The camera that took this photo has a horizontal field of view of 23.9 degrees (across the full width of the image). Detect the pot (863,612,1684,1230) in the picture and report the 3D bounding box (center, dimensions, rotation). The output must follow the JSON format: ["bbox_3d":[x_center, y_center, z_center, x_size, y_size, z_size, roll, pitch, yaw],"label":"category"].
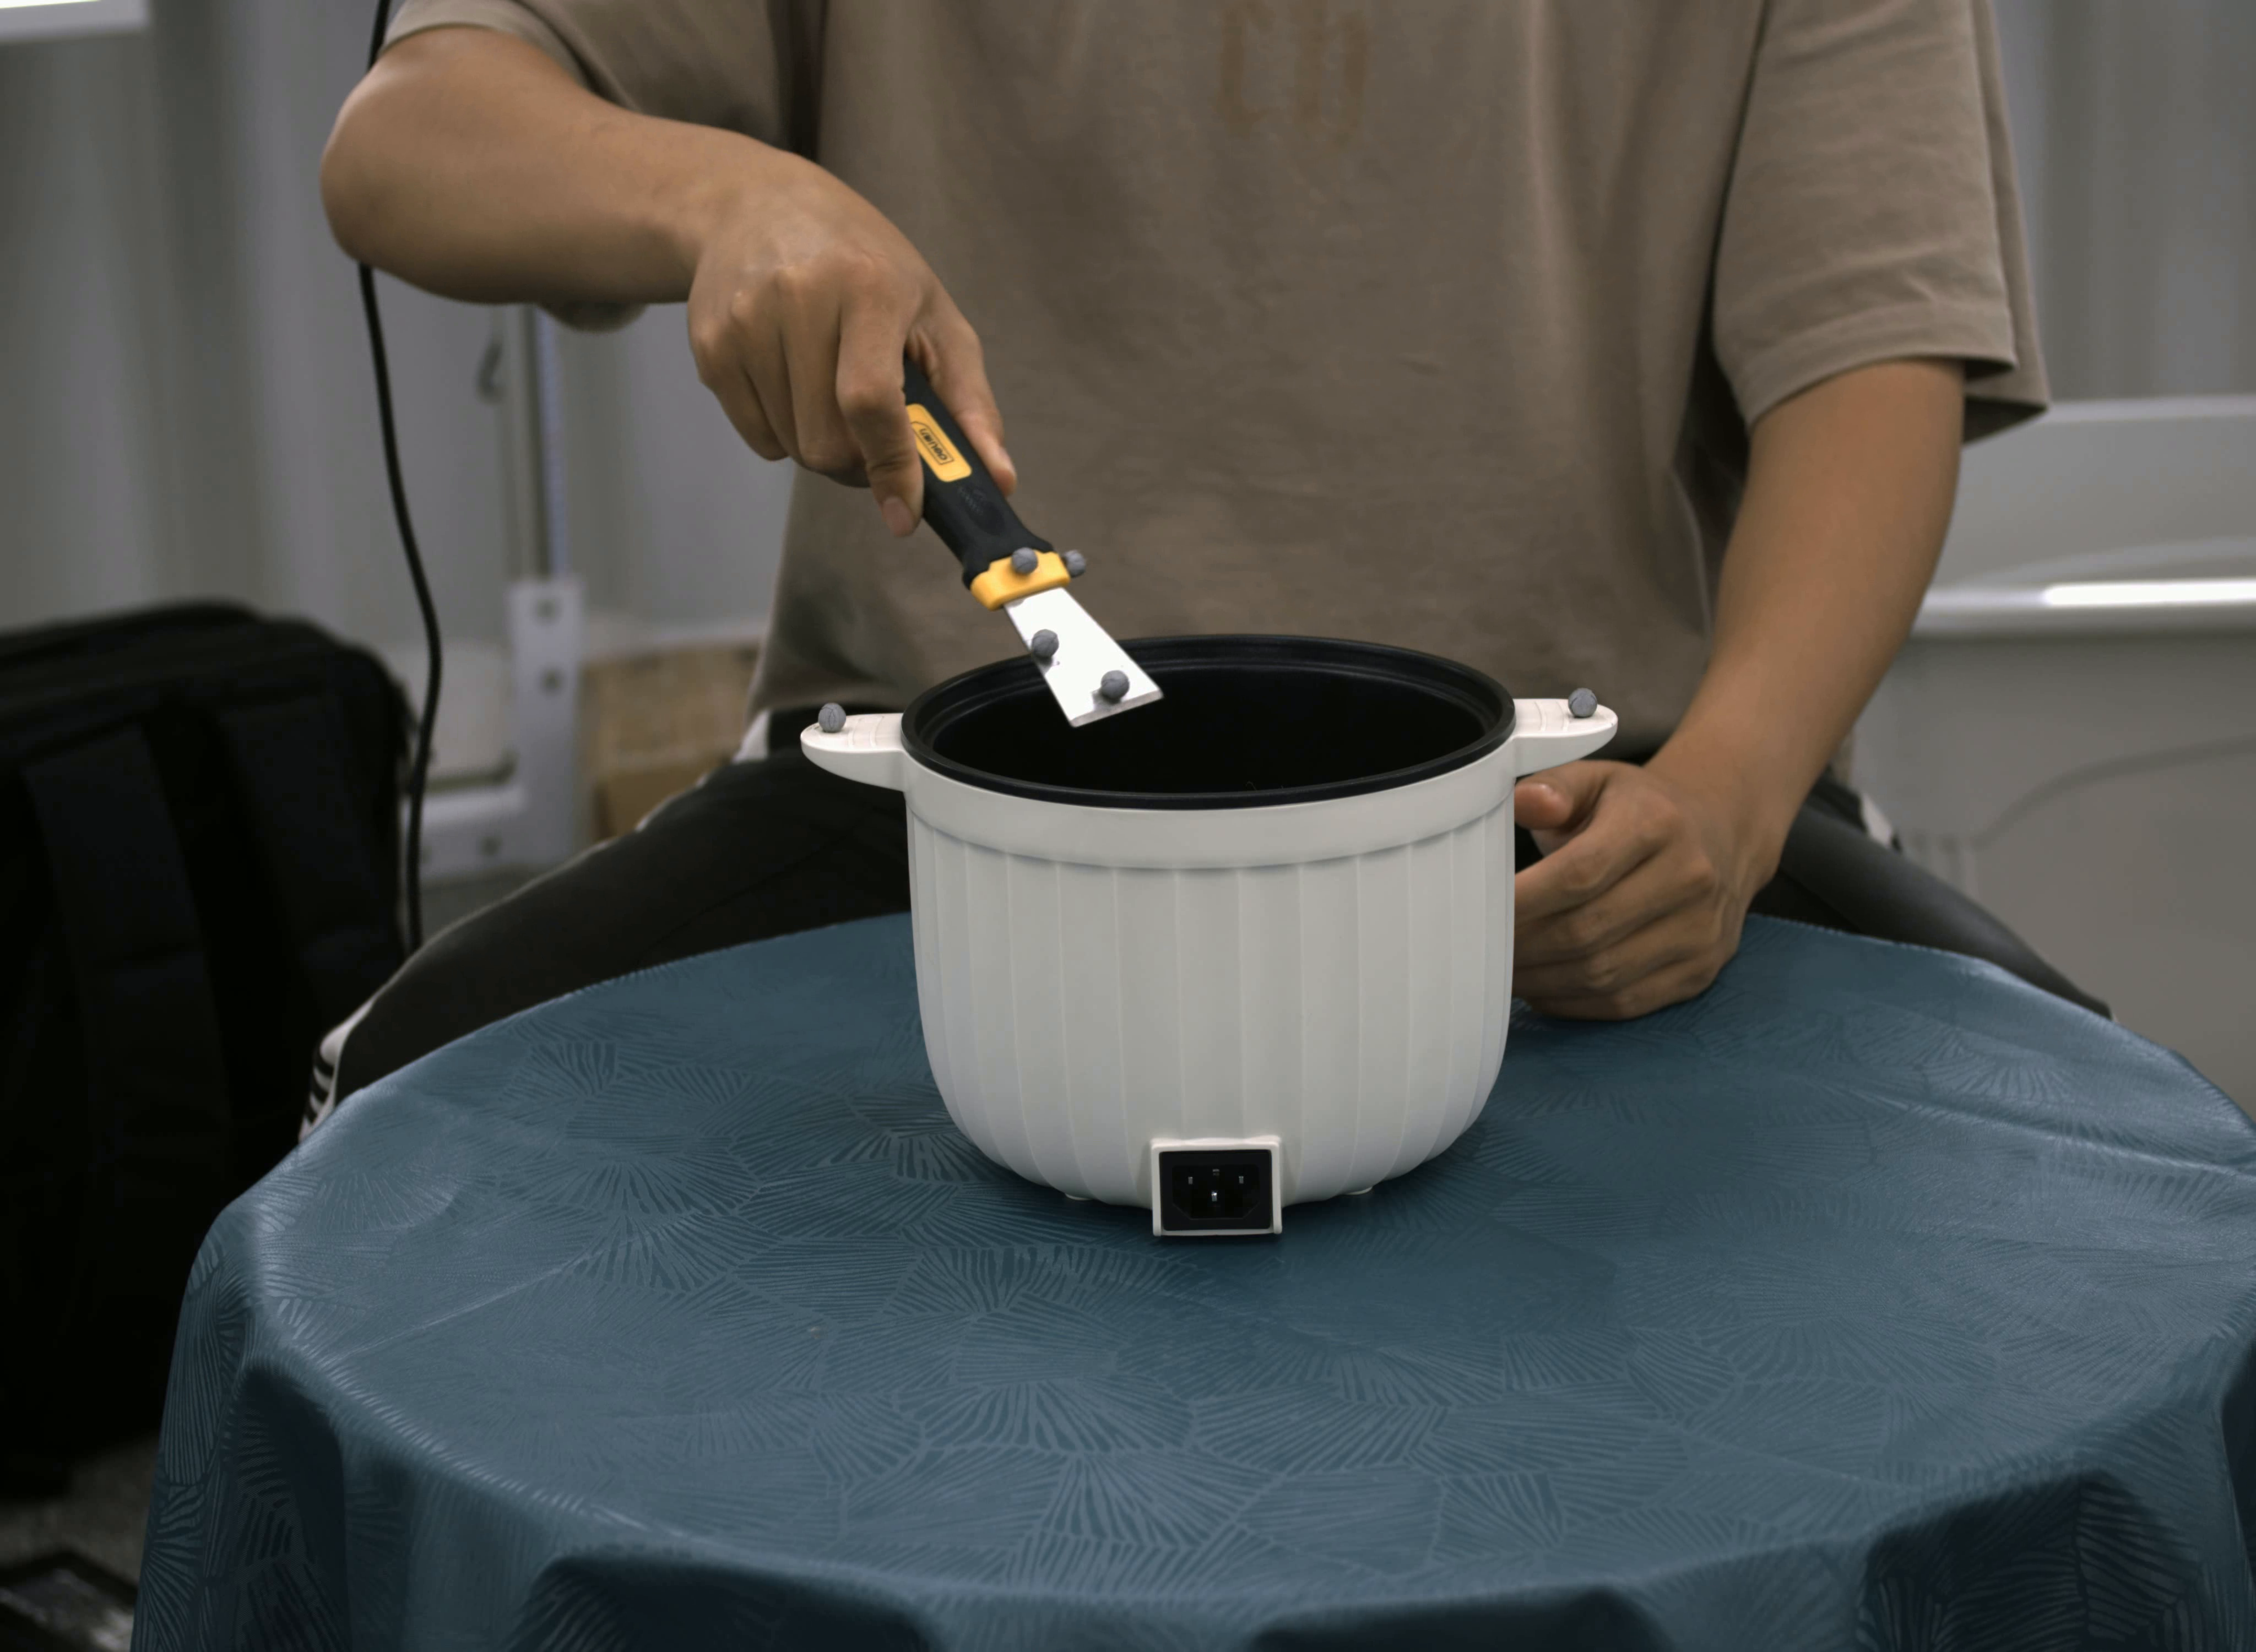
[{"bbox_3d":[0.043,0.025,1.576,0.240,0.142,0.191,0,20,2],"label":"pot"}]

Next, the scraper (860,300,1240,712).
[{"bbox_3d":[-0.028,-0.099,1.621,0.038,0.015,0.174,-24,60,-26],"label":"scraper"}]
